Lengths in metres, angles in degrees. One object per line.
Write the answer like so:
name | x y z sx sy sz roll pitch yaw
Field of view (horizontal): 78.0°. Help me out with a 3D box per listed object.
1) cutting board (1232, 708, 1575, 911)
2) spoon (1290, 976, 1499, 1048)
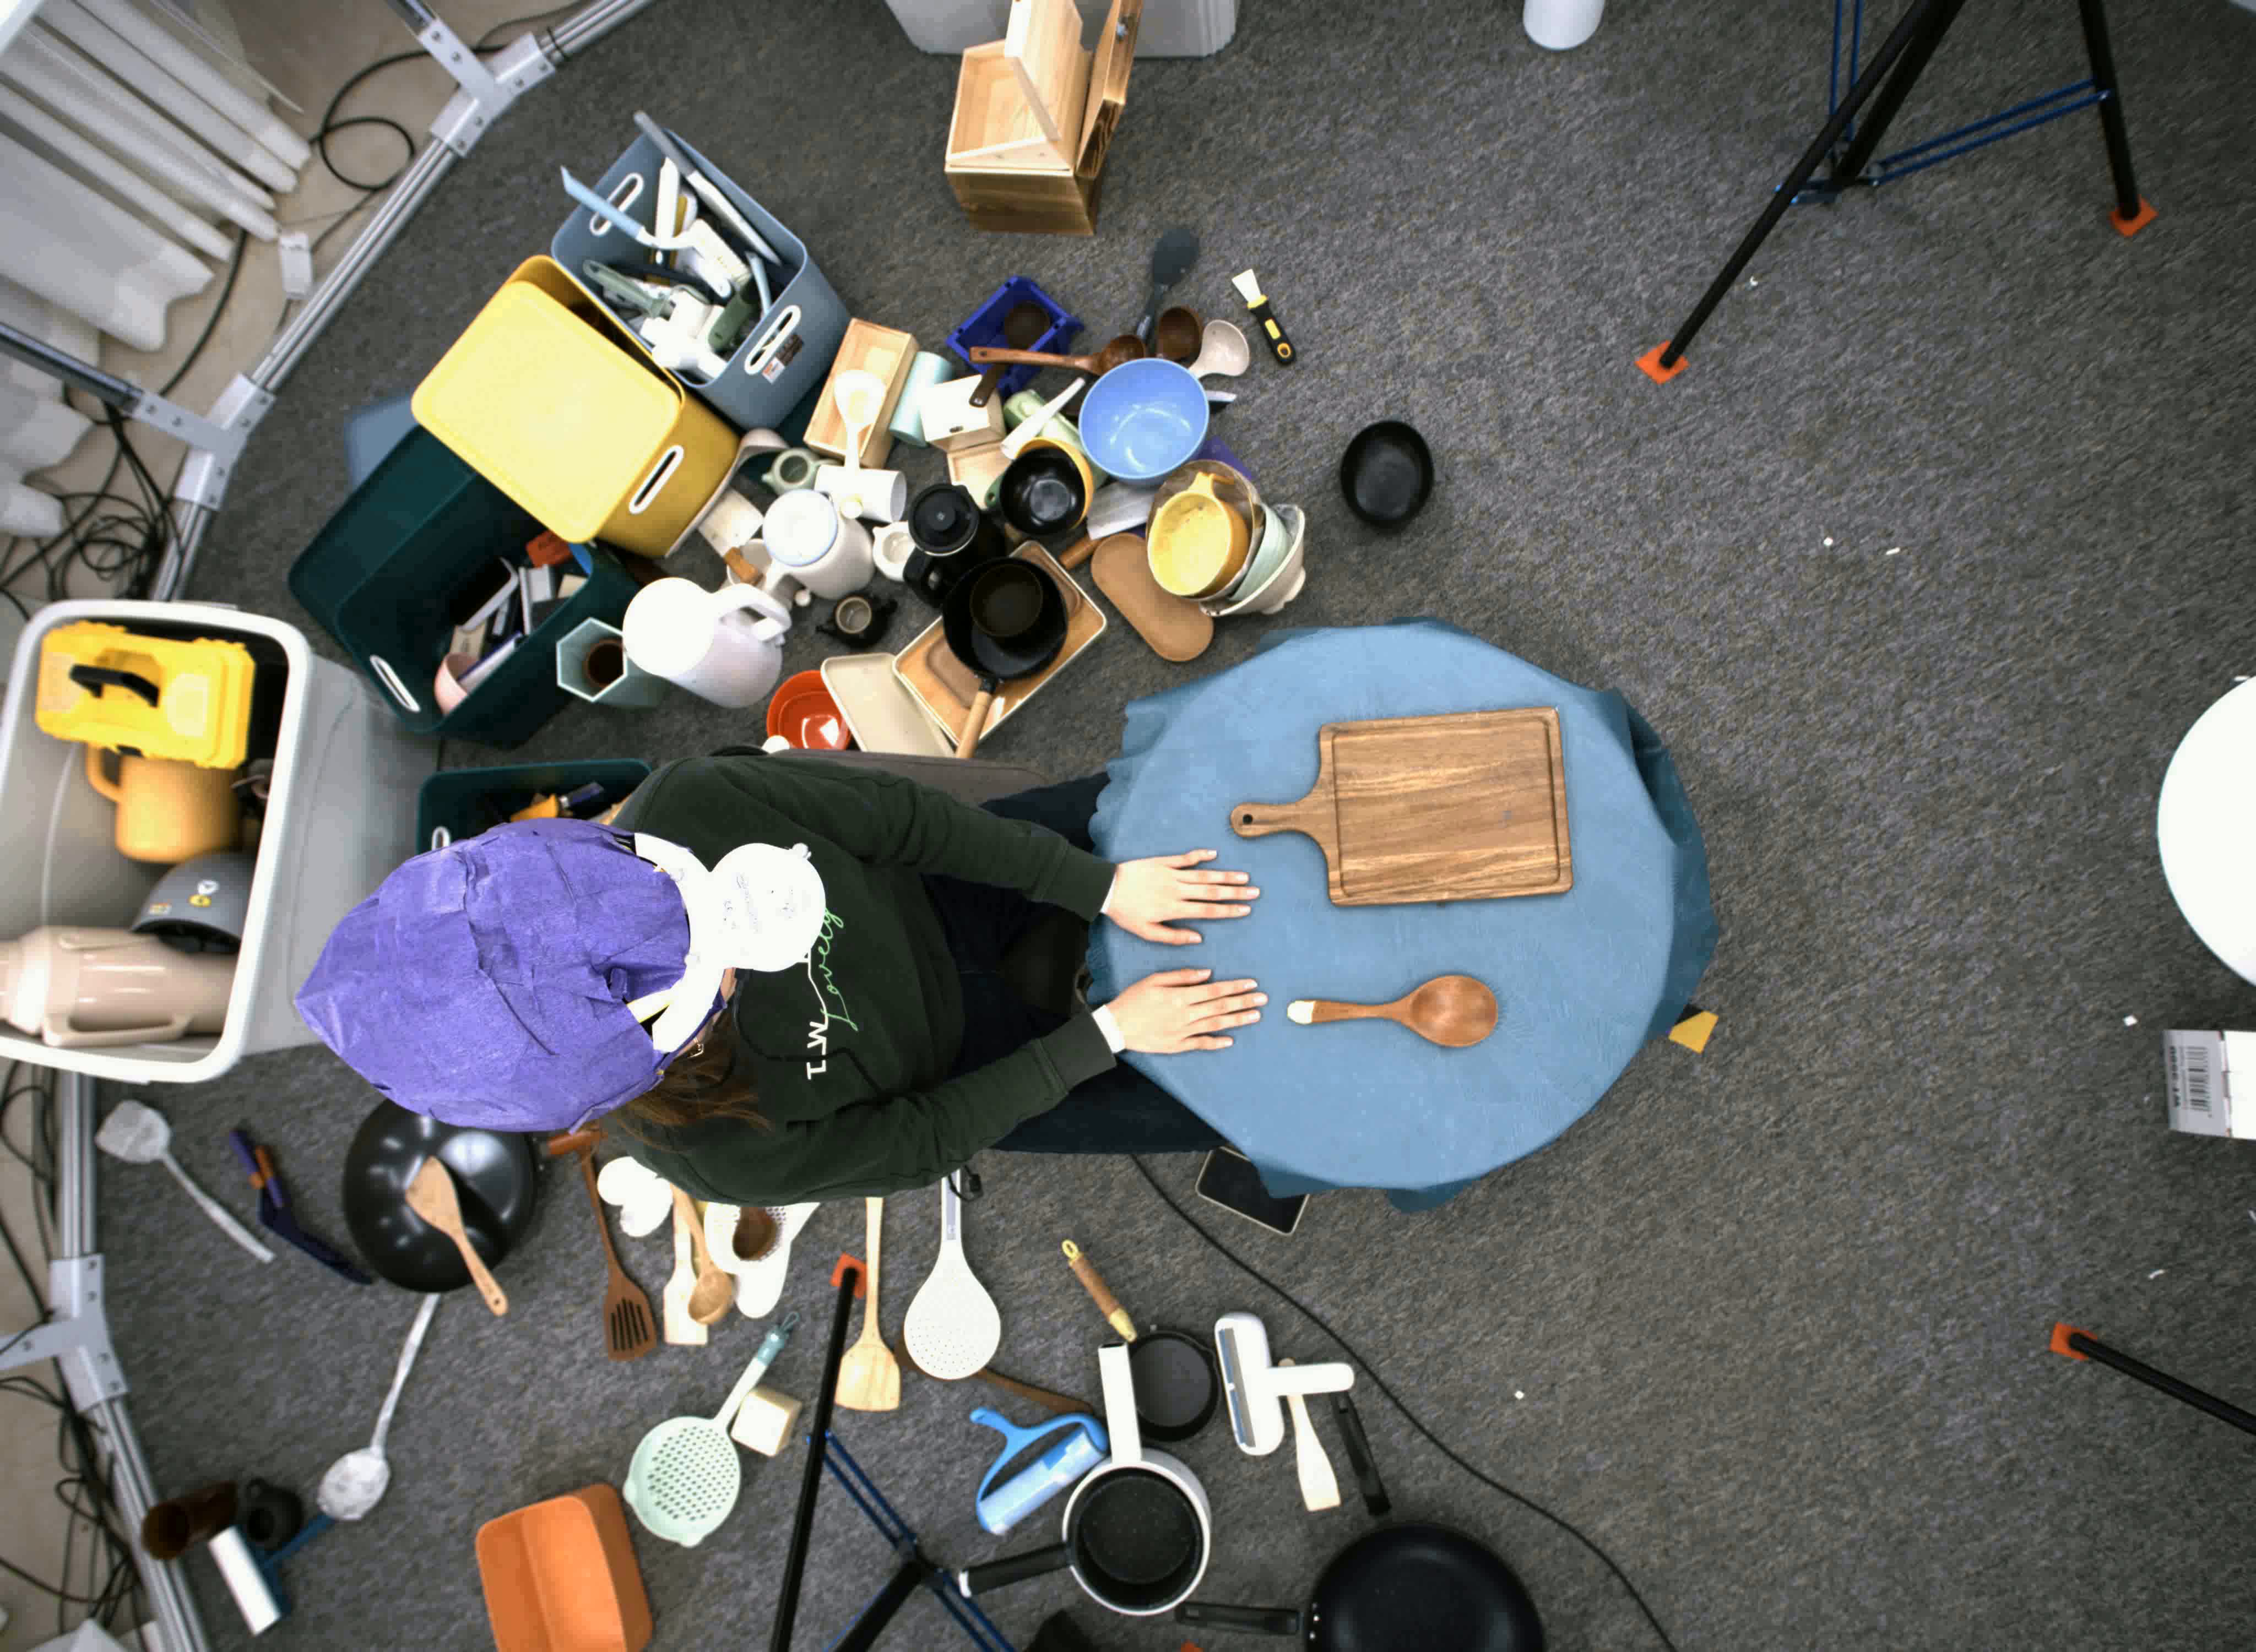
cutting board | 0.285 -0.015 1.459 0.354 0.023 0.200 -4 86 10
spoon | 0.277 0.193 1.446 0.217 0.017 0.075 -2 87 10
